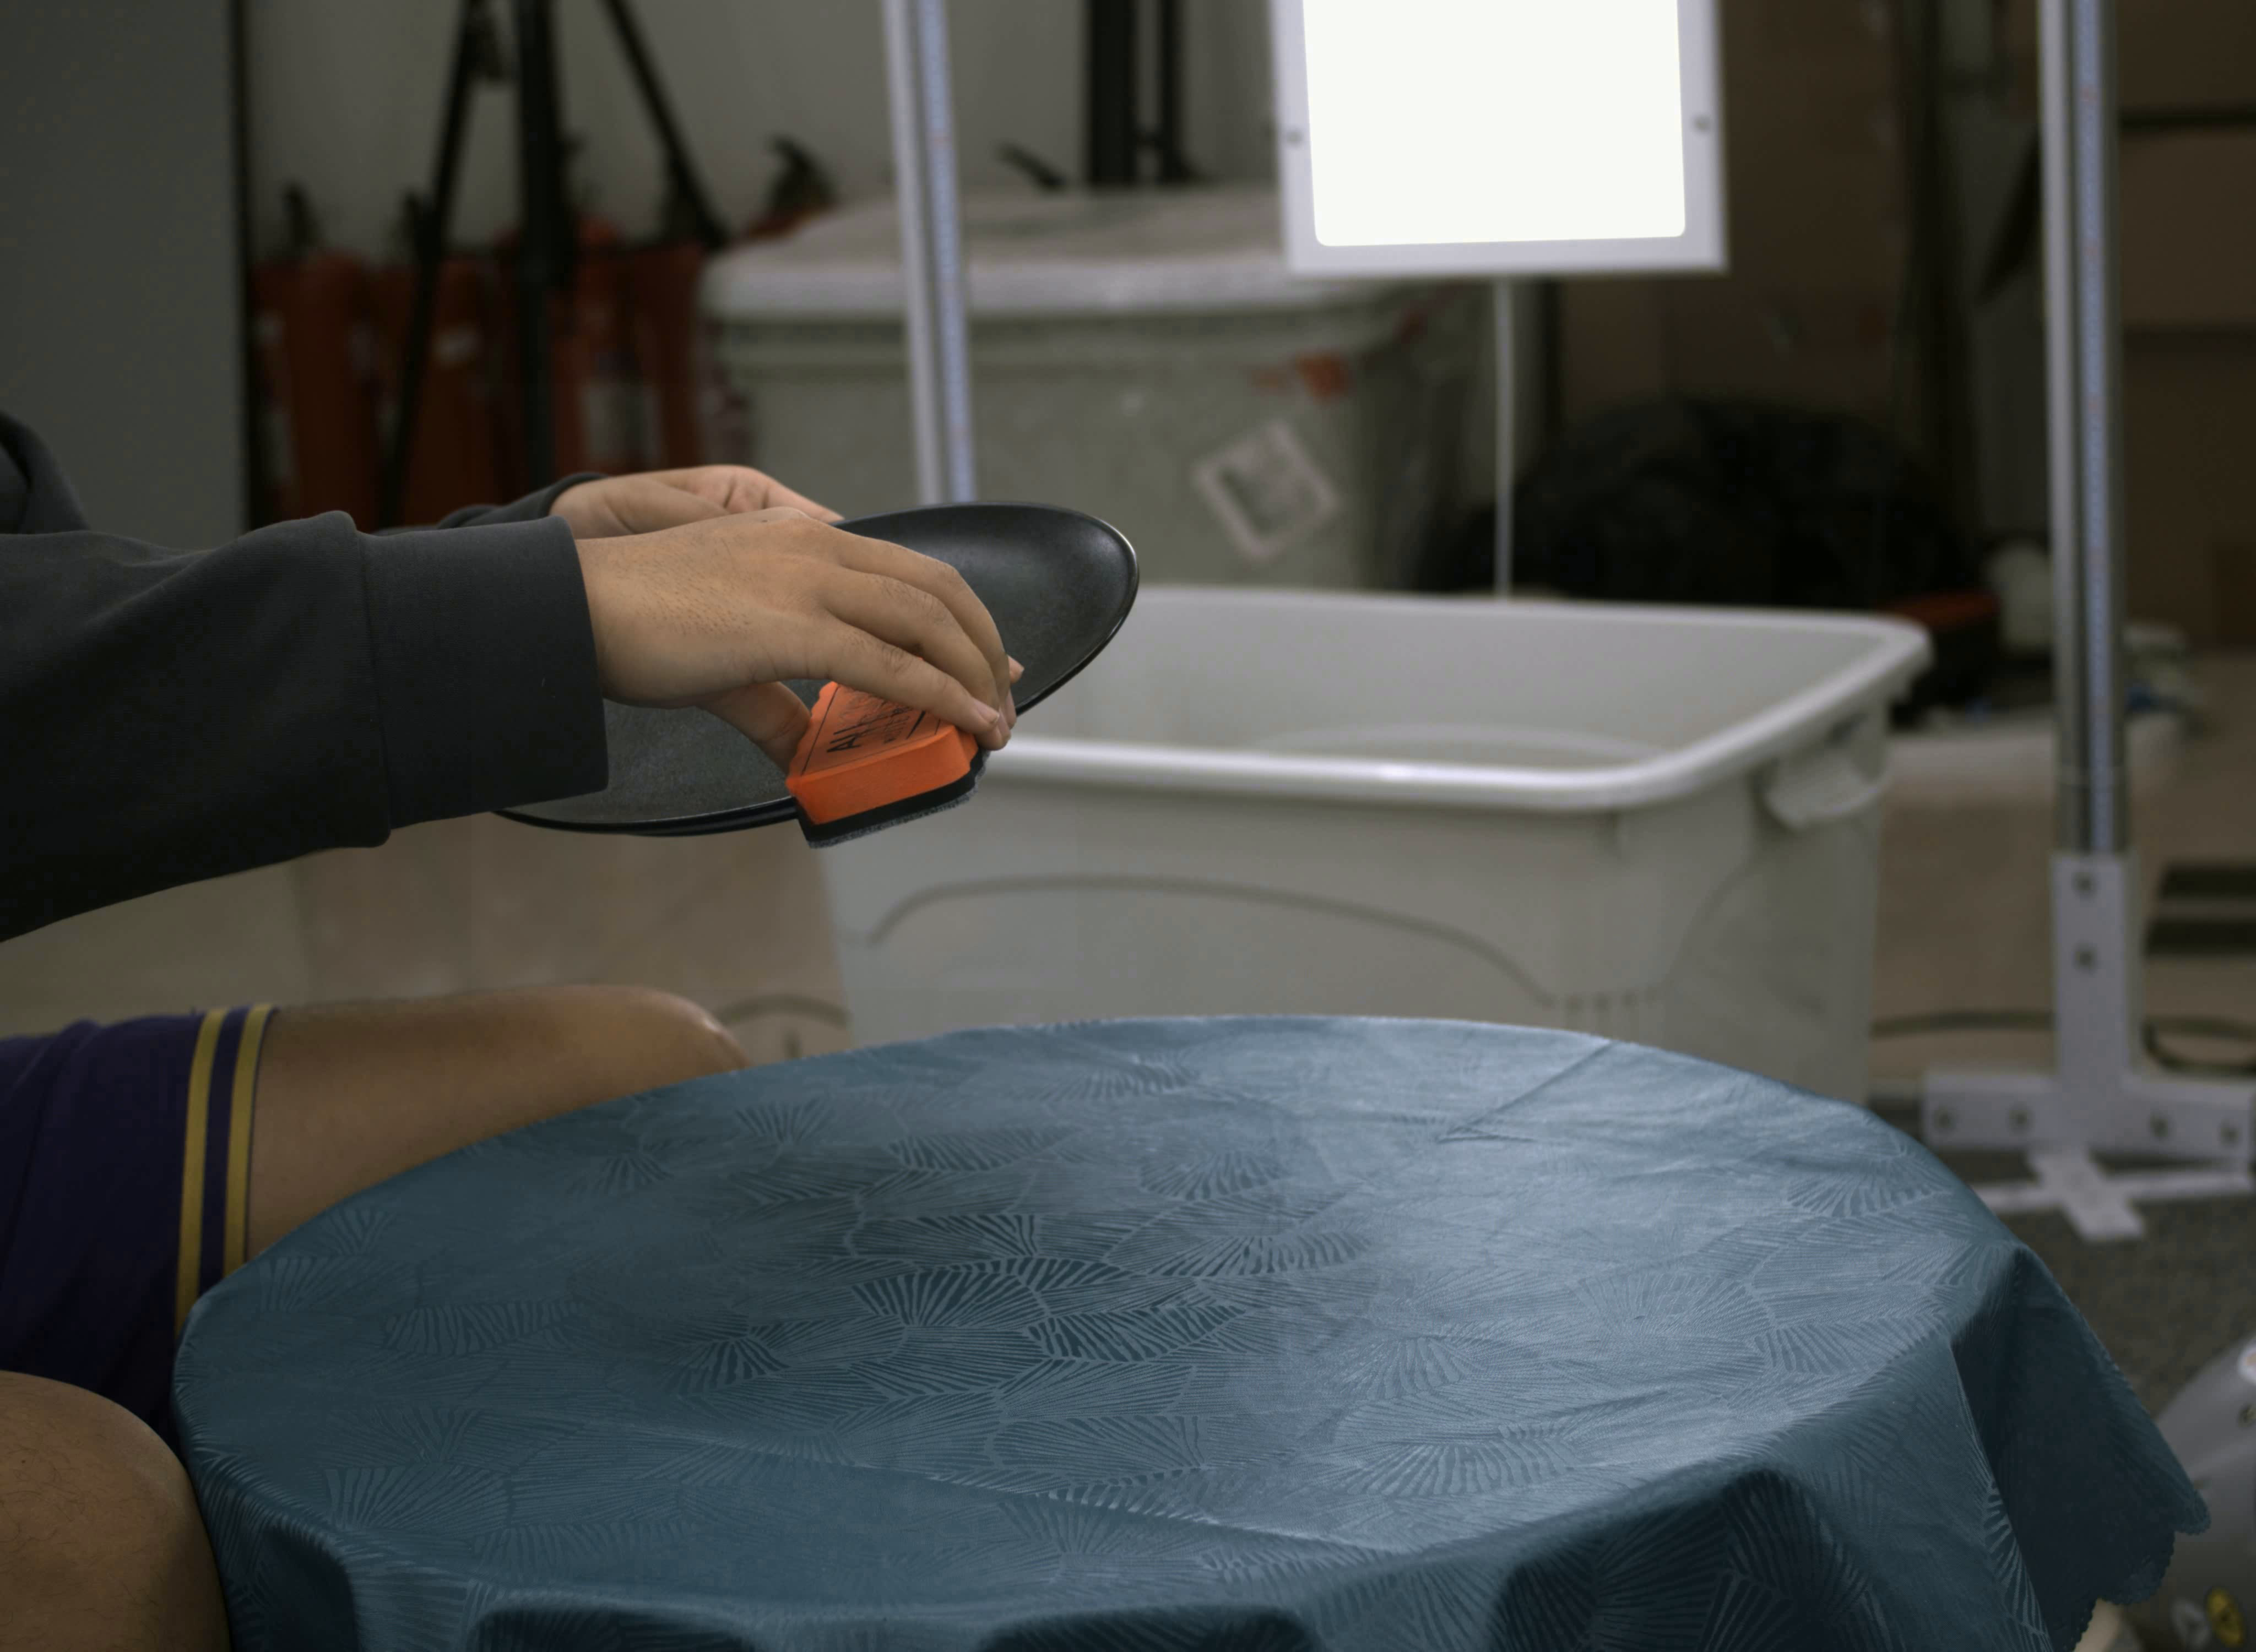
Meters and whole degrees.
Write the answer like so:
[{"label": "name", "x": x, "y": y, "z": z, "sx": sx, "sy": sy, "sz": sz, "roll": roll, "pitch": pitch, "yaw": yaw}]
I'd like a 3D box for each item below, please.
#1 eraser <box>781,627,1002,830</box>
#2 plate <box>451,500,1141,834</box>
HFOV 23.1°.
[{"label": "eraser", "x": -0.073, "y": -0.031, "z": 1.732, "sx": 0.059, "sy": 0.023, "sz": 0.107, "roll": -17, "pitch": 16, "yaw": 11}, {"label": "plate", "x": -0.111, "y": -0.049, "z": 1.866, "sx": 0.245, "sy": 0.023, "sz": 0.244, "roll": -16, "pitch": 23, "yaw": 5}]
